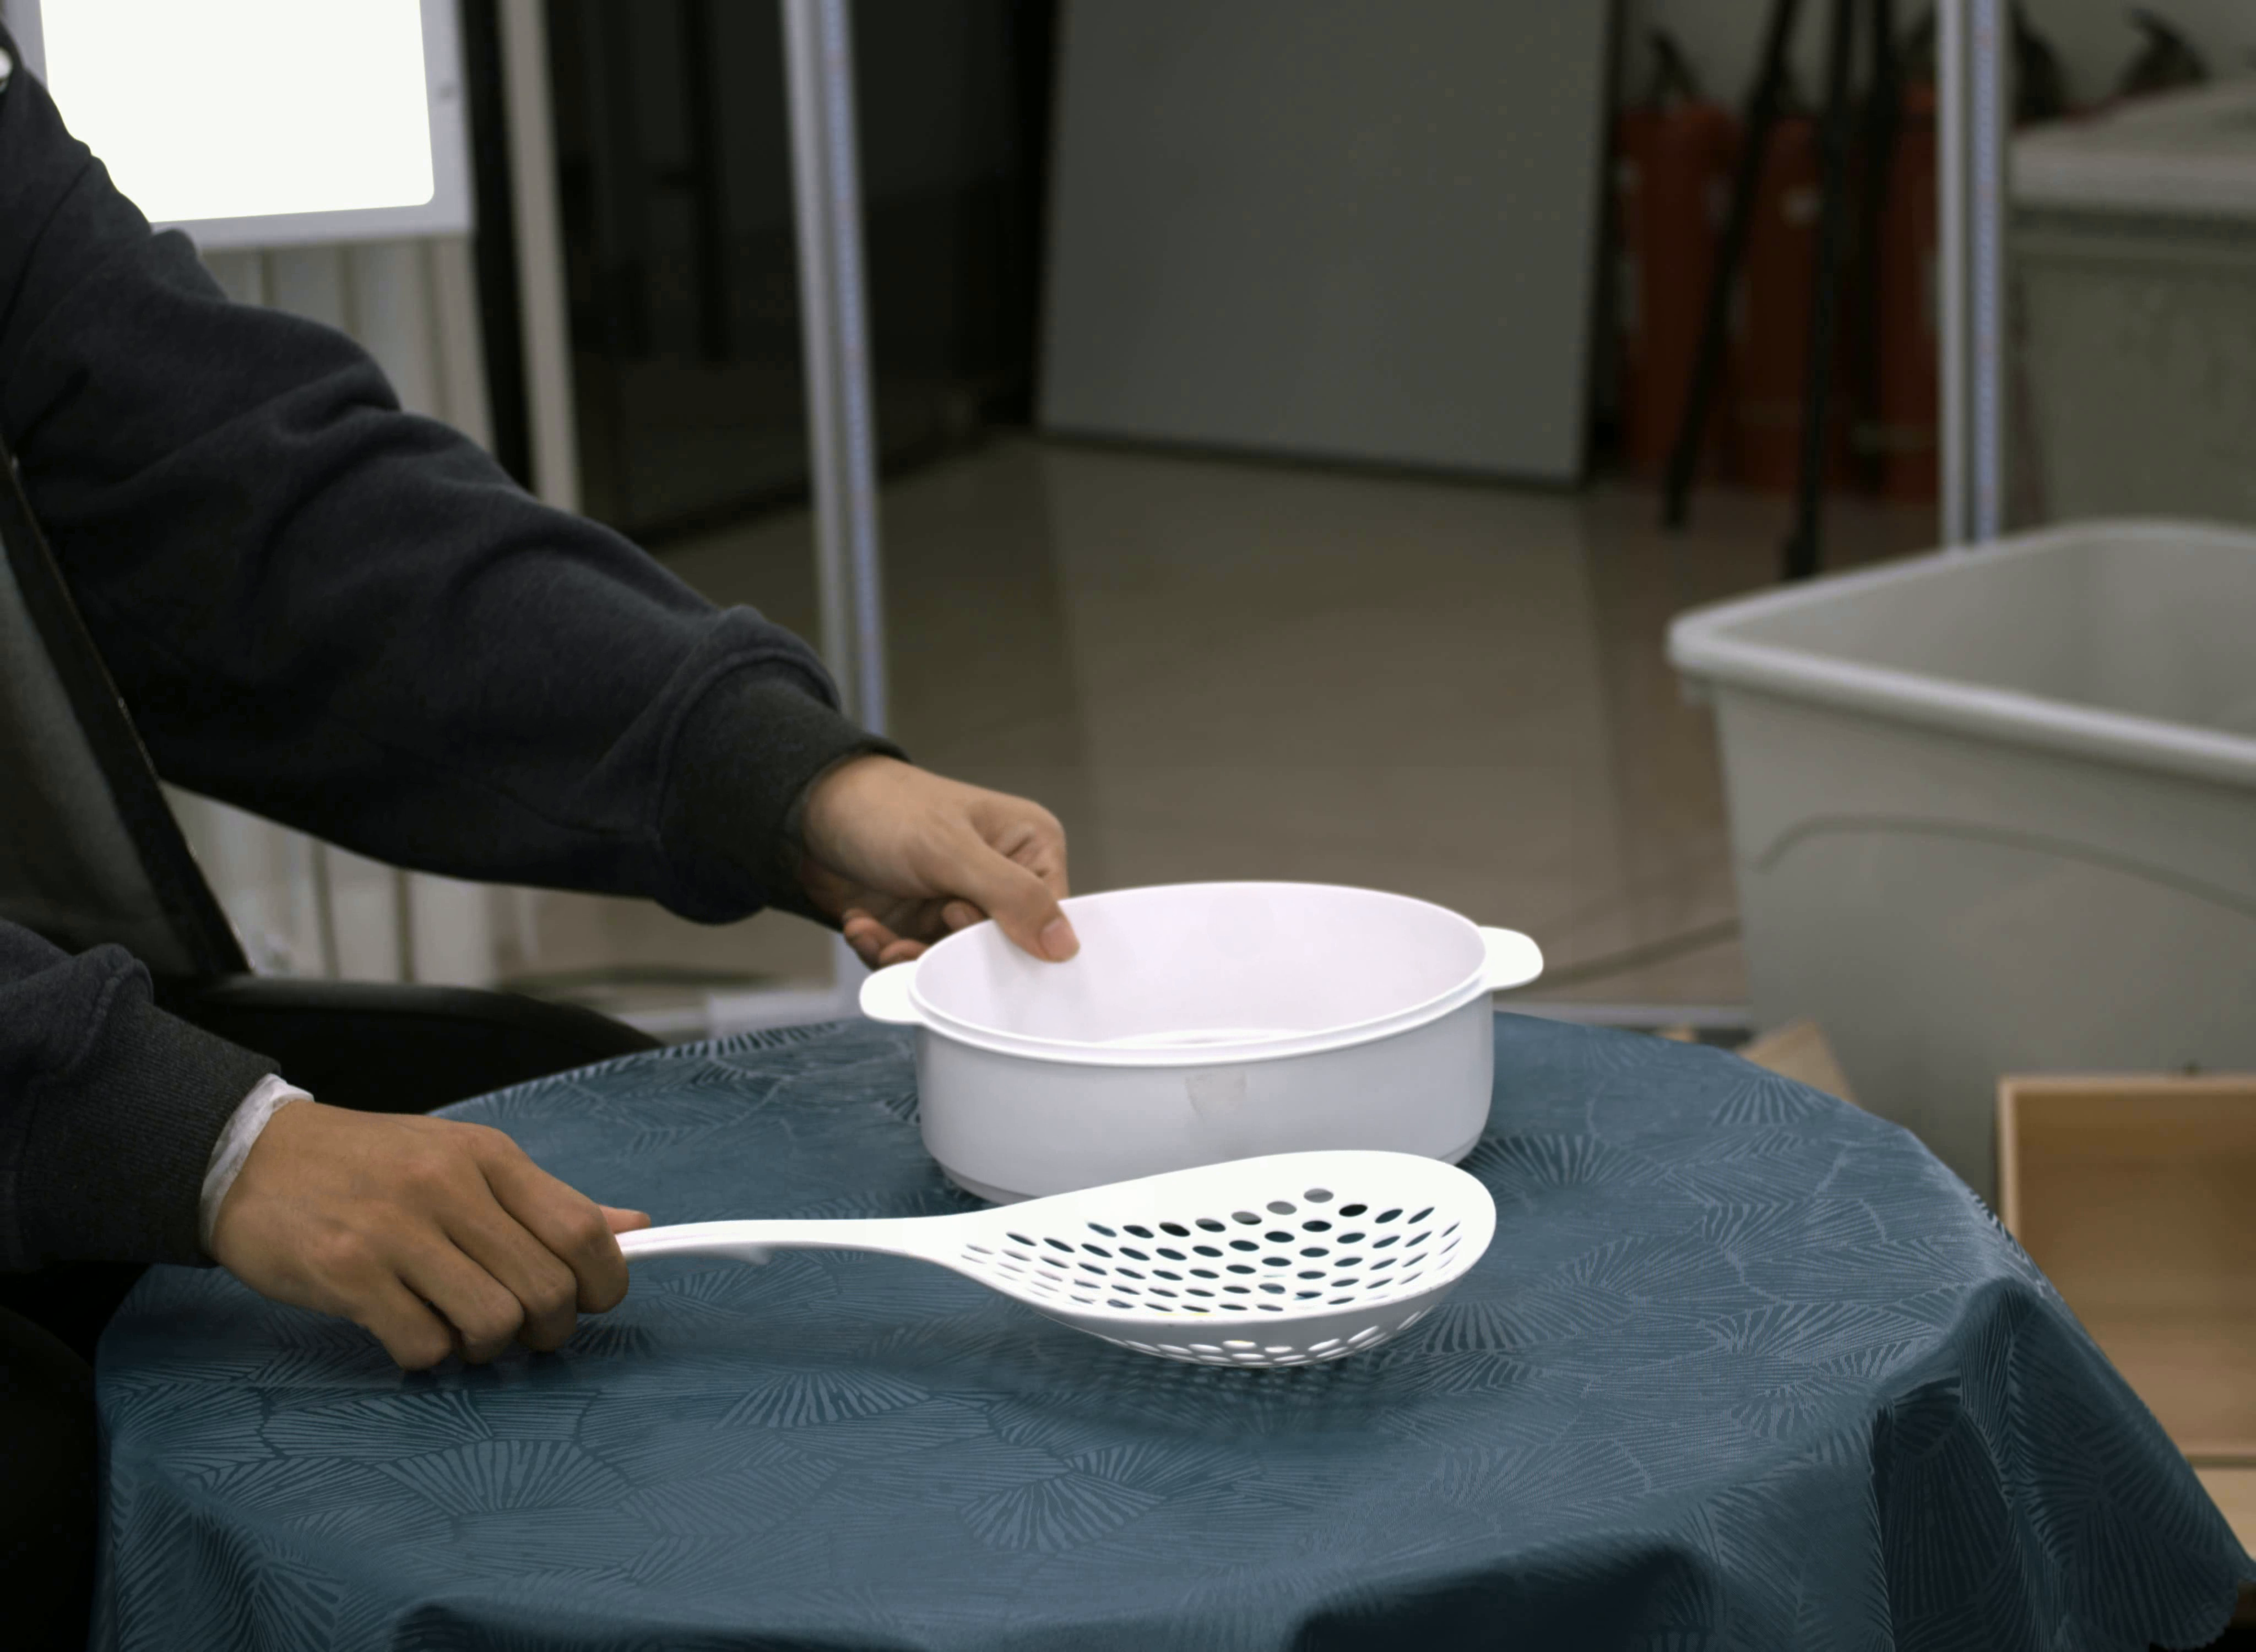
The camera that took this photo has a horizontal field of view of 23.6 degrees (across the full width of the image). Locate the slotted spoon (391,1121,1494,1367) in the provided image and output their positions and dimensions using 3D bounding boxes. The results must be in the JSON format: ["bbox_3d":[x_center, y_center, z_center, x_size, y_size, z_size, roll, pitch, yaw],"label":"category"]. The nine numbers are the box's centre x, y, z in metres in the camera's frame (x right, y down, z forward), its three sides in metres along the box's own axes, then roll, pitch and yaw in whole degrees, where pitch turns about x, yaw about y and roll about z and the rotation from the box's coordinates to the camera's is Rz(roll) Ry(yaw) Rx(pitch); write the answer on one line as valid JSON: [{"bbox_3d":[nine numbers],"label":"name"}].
[{"bbox_3d":[-0.059,0.136,1.633,0.346,0.051,0.136,0,20,14],"label":"slotted spoon"}]

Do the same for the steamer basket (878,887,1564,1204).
[{"bbox_3d":[0.032,0.077,1.797,0.227,0.070,0.202,-2,14,0],"label":"steamer basket"}]
